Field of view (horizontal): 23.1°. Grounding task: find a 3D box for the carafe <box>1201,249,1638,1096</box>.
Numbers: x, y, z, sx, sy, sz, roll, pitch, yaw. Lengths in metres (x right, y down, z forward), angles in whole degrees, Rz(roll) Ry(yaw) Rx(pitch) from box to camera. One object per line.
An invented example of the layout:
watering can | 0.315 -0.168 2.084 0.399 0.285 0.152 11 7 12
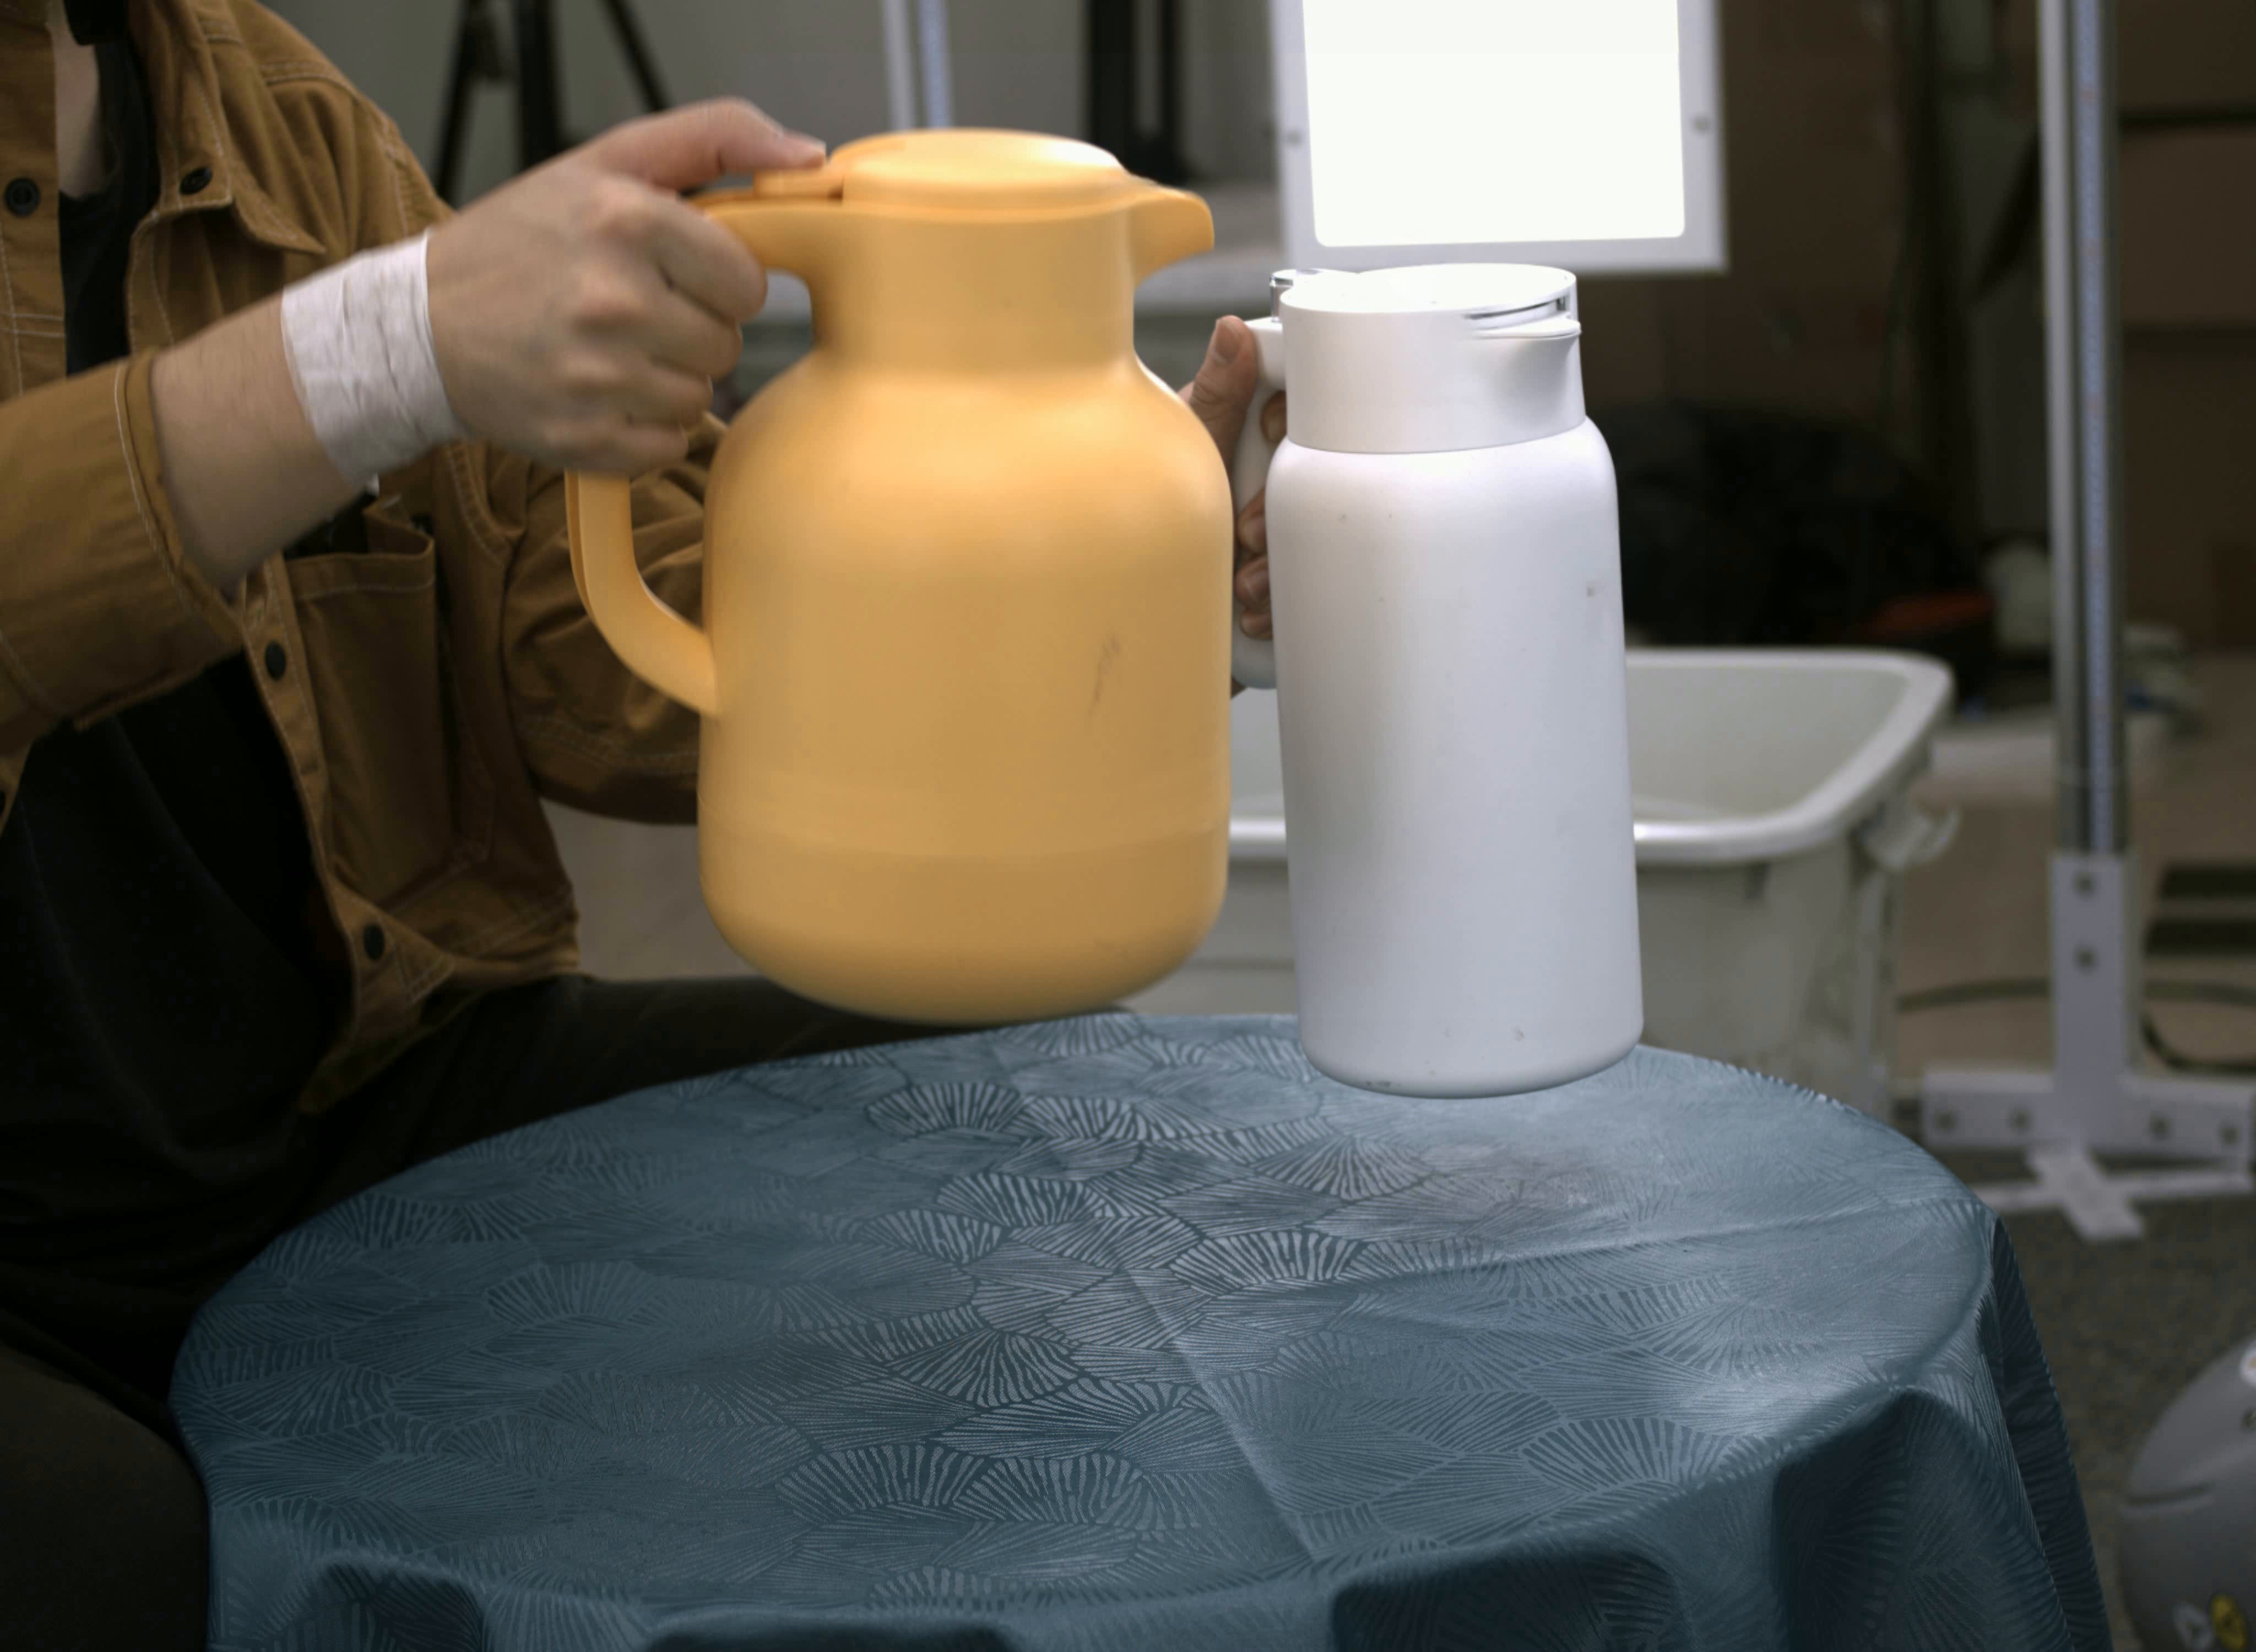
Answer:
carafe | 0.094 -0.053 1.842 0.121 0.270 0.176 -17 18 -36

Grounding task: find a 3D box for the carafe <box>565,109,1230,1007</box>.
carafe | -0.069 -0.084 1.658 0.200 0.262 0.164 0 12 -12
